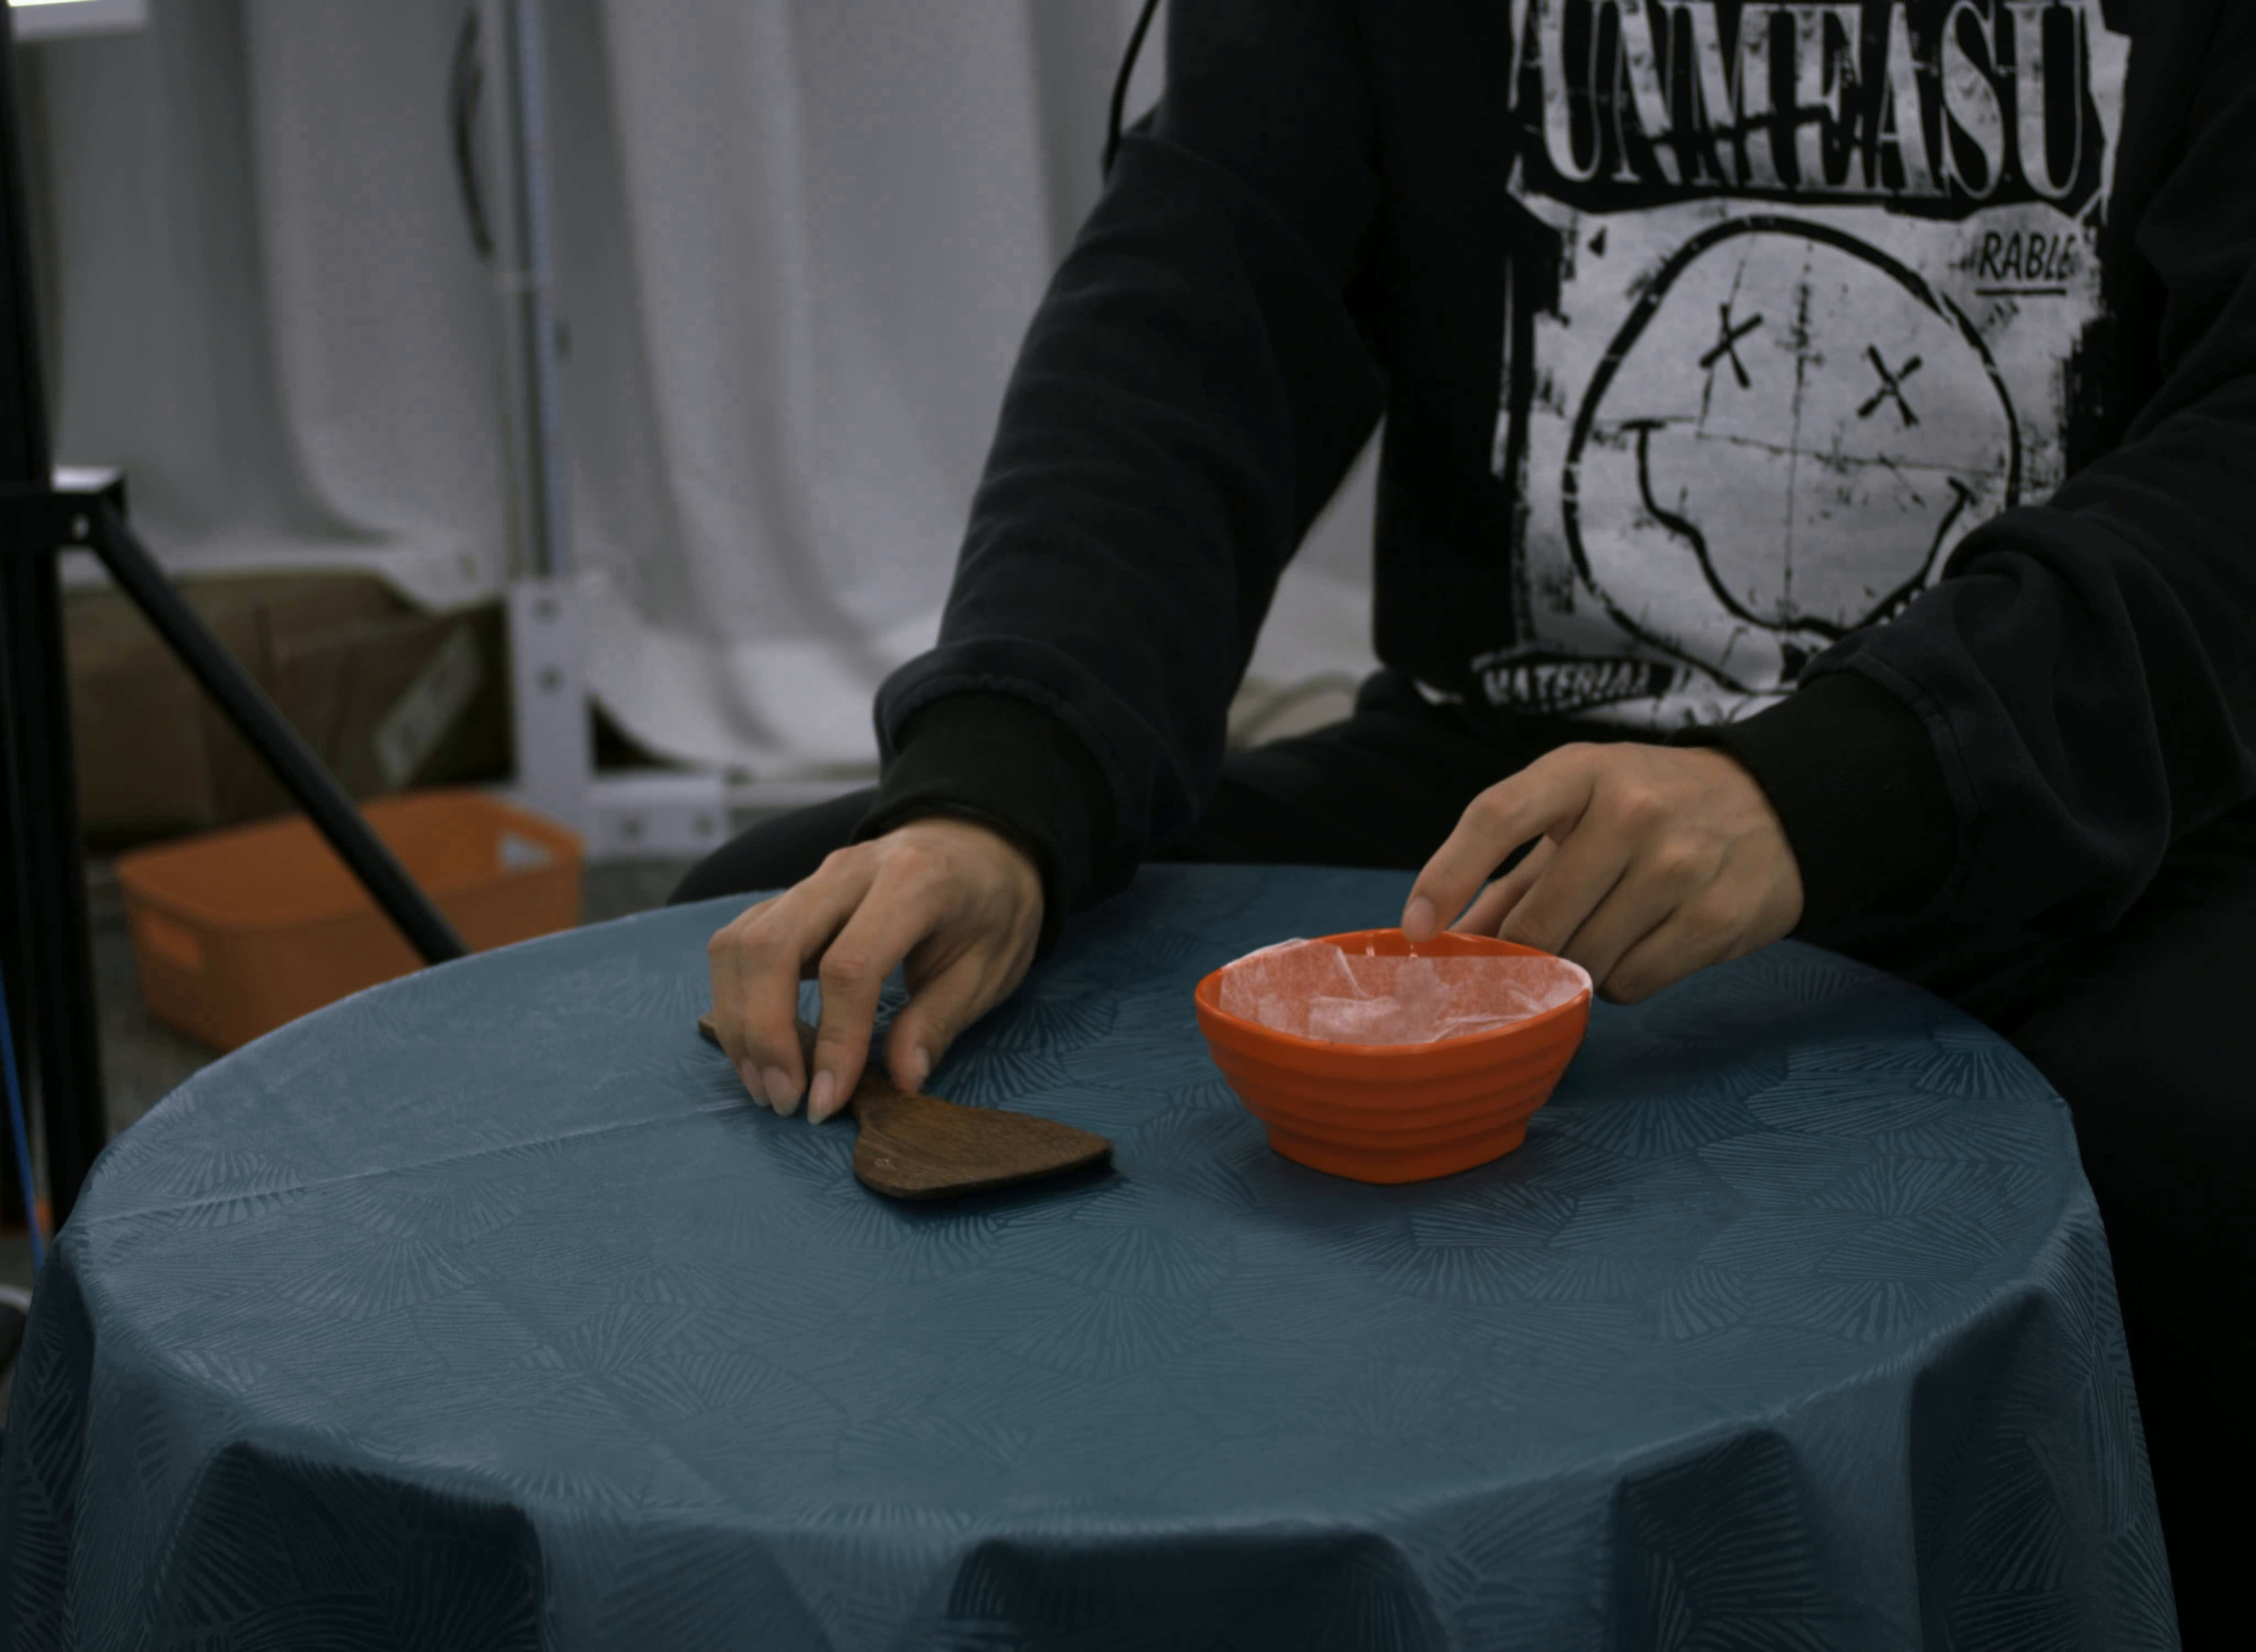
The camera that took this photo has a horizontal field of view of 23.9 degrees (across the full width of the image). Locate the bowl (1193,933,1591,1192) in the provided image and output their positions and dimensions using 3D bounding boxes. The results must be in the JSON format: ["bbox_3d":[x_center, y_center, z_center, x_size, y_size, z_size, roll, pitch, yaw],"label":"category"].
[{"bbox_3d":[0.080,0.073,1.583,0.118,0.051,0.119,-4,16,0],"label":"bowl"}]

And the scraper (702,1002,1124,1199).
[{"bbox_3d":[-0.079,0.083,1.644,0.074,0.011,0.216,-10,17,-26],"label":"scraper"}]
